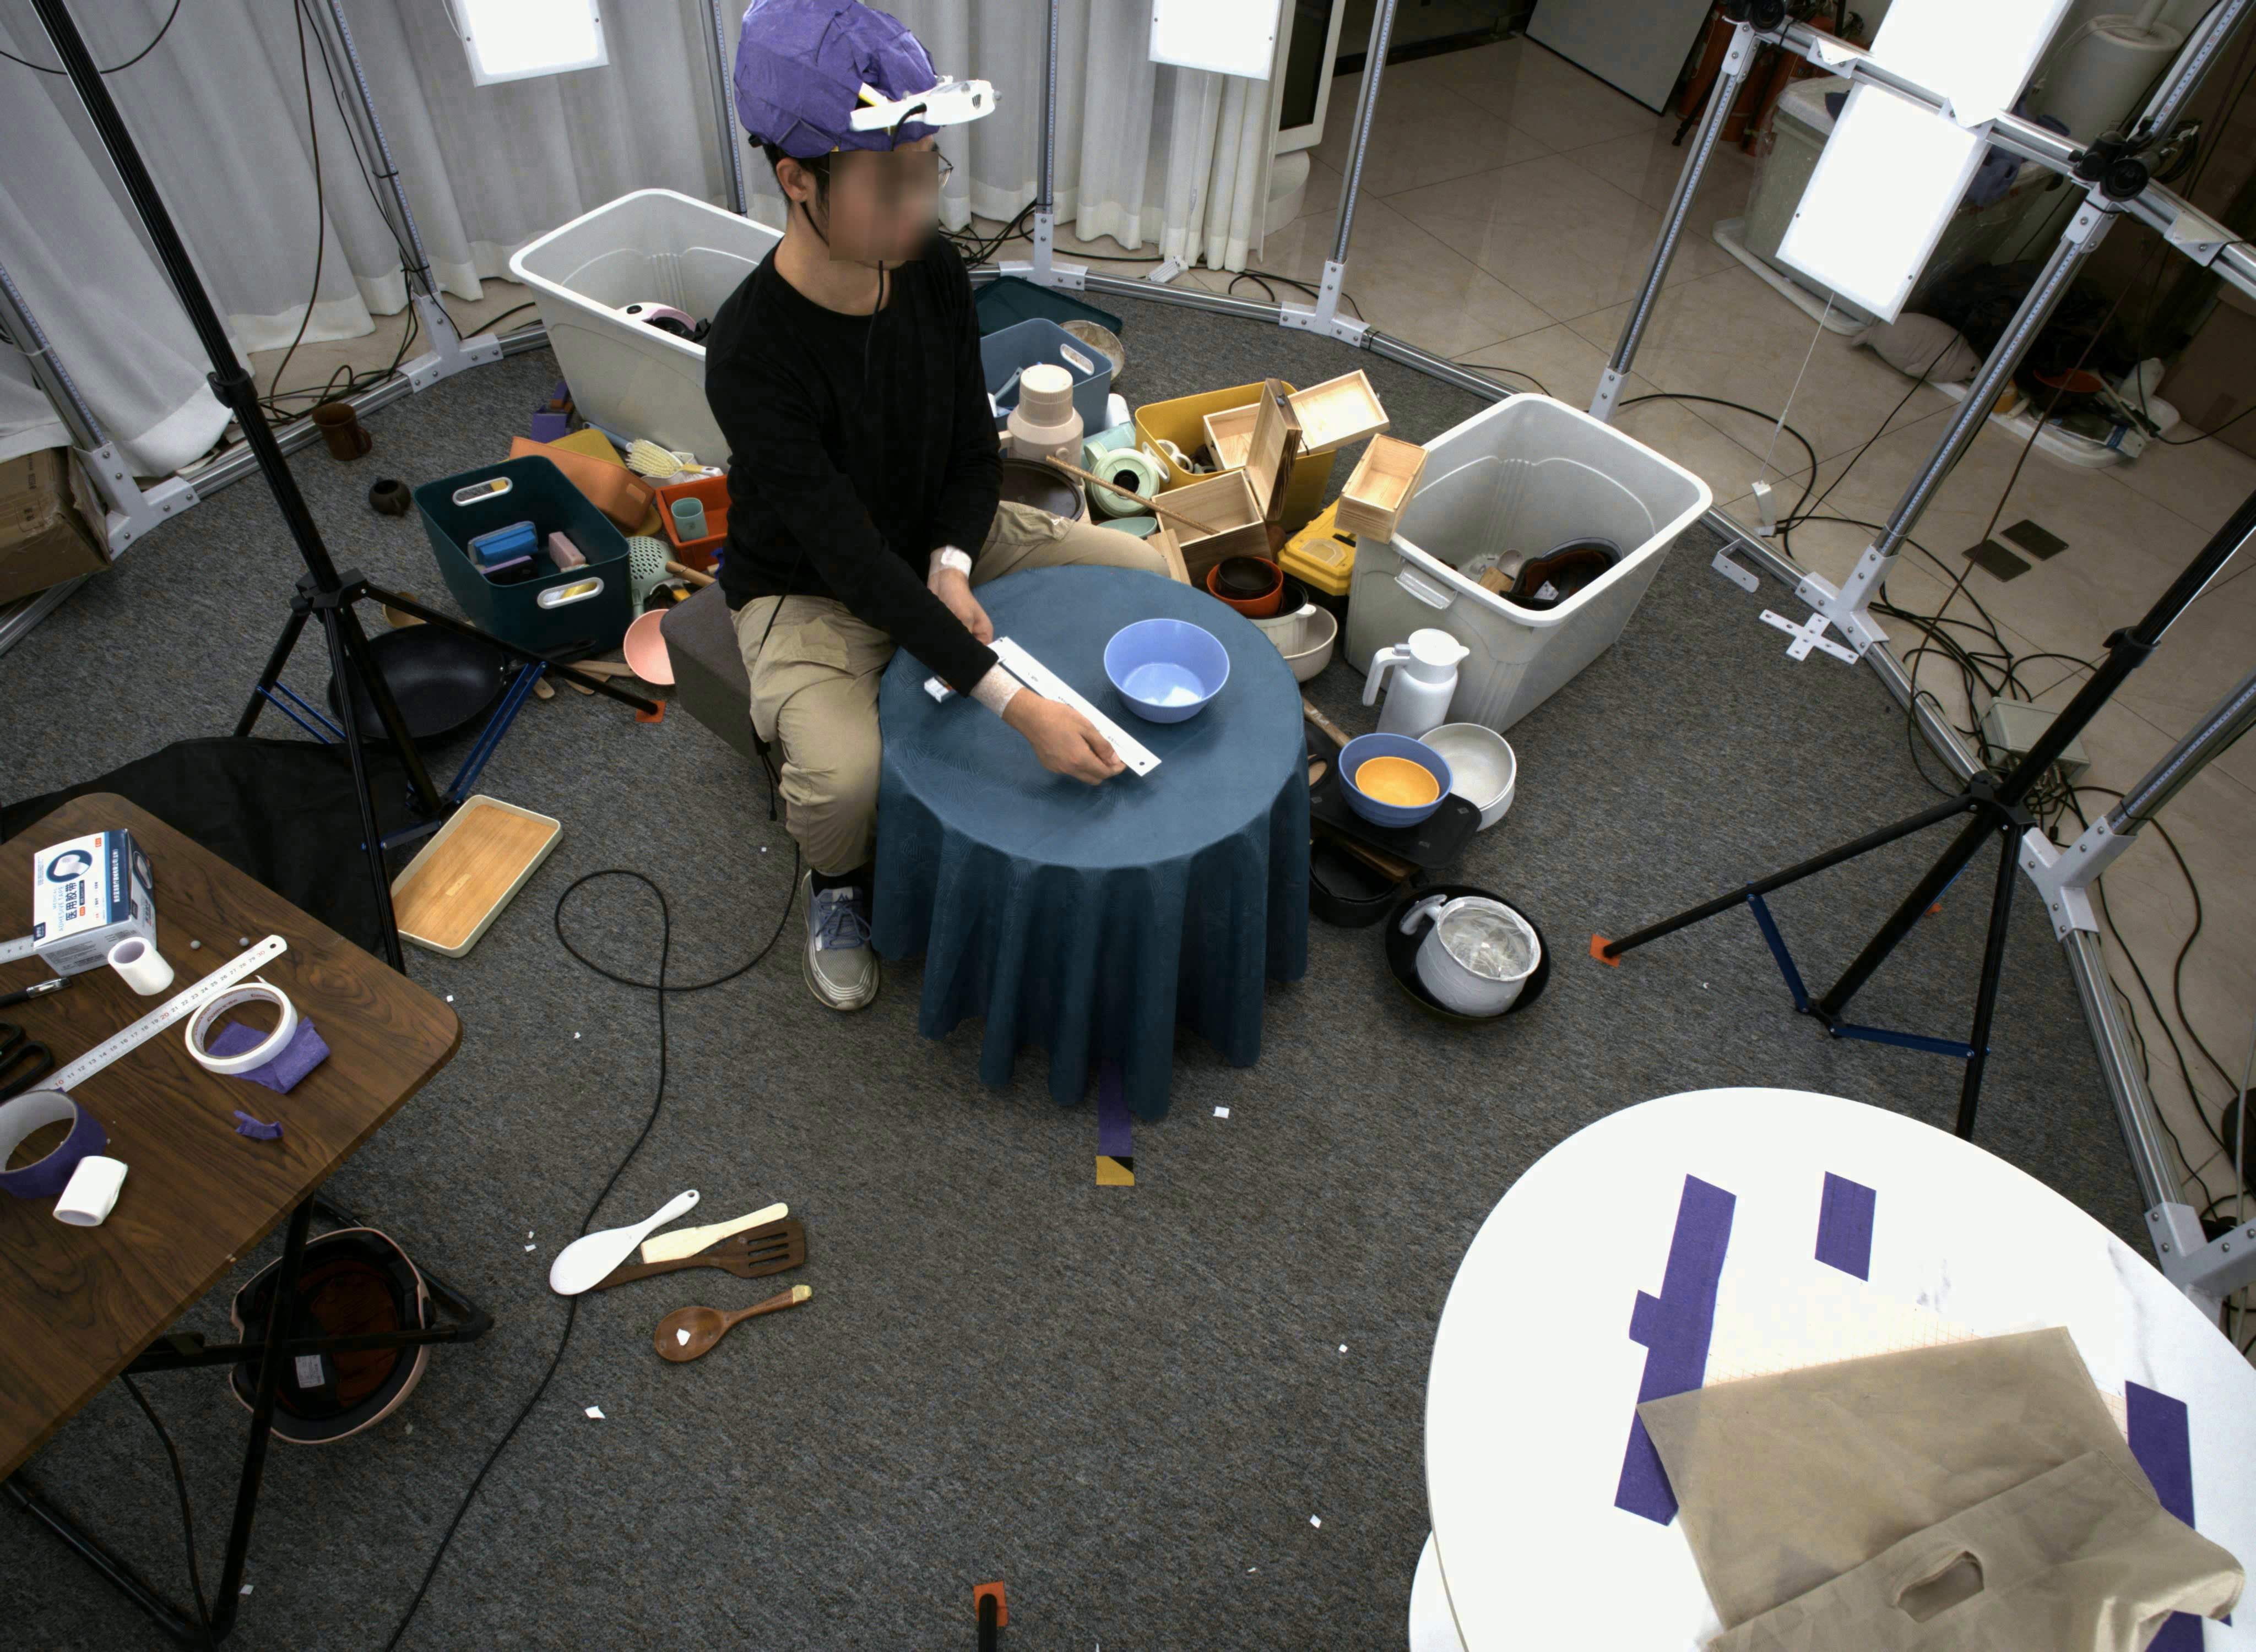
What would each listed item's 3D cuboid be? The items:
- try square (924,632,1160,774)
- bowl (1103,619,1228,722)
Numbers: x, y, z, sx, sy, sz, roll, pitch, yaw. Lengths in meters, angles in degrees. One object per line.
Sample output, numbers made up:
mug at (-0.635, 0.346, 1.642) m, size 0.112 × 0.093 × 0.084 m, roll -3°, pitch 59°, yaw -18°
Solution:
try square at (-0.119, -0.143, 1.737) m, size 0.153 × 0.015 × 0.317 m, roll -37°, pitch 62°, yaw -25°
bowl at (0.050, -0.211, 1.811) m, size 0.176 × 0.068 × 0.180 m, roll 2°, pitch 50°, yaw -2°
